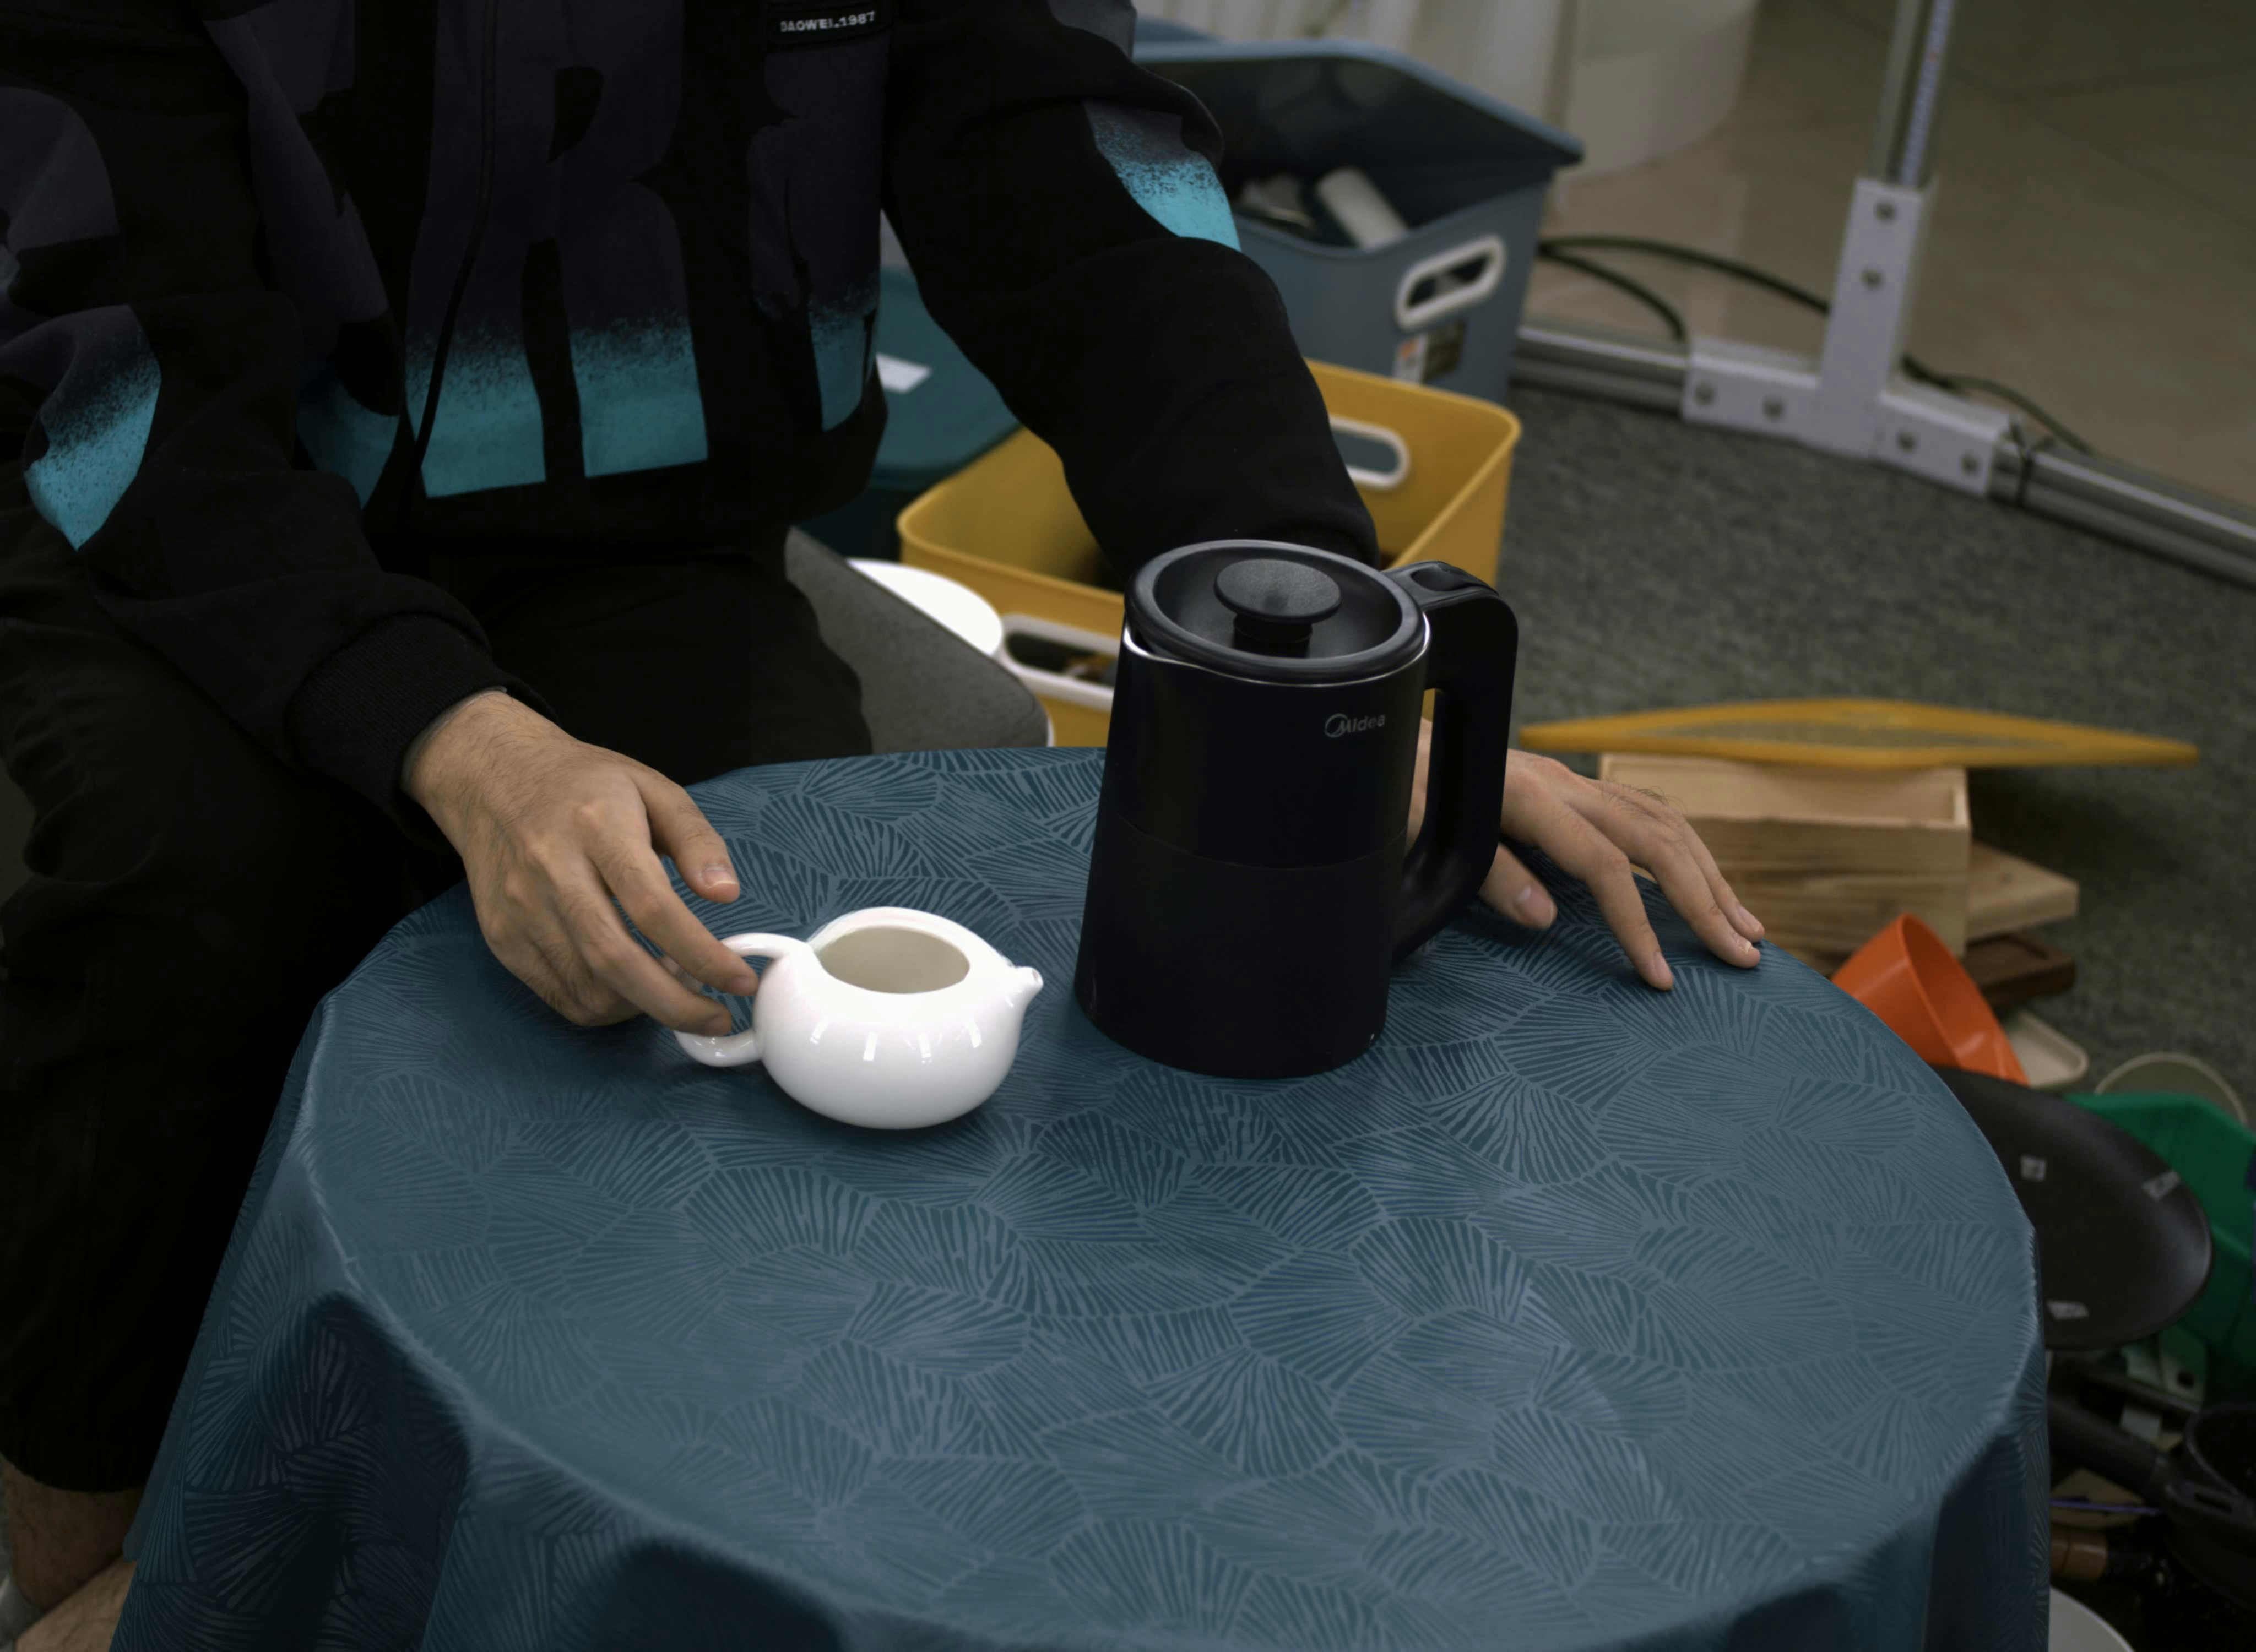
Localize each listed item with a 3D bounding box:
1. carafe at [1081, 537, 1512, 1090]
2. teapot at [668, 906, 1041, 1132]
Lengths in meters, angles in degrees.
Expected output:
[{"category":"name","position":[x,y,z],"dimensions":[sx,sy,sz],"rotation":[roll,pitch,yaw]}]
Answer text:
[{"category":"carafe","position":[0.062,-0.015,1.898],"dimensions":[0.170,0.173,0.115],"rotation":[-16,33,-34]},{"category":"teapot","position":[-0.095,0.066,1.831],"dimensions":[0.127,0.056,0.094],"rotation":[3,30,-5]}]
